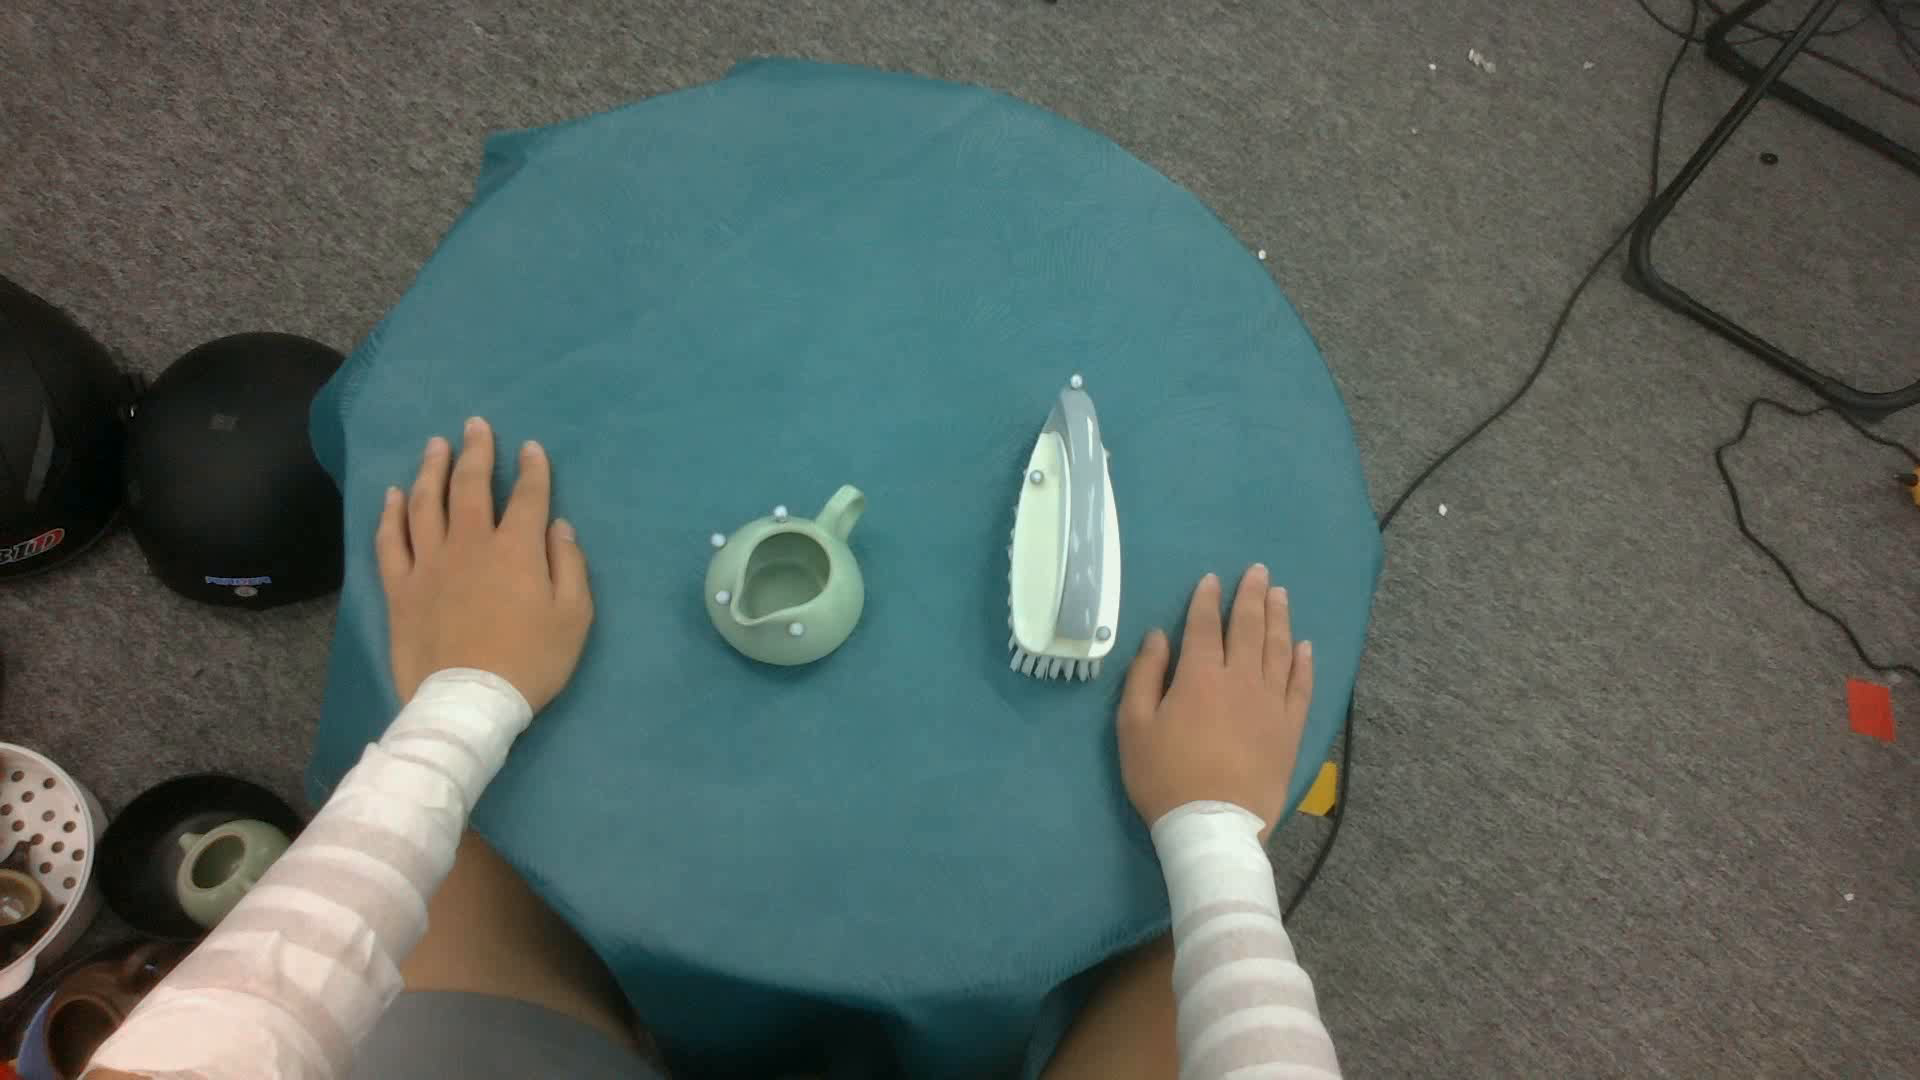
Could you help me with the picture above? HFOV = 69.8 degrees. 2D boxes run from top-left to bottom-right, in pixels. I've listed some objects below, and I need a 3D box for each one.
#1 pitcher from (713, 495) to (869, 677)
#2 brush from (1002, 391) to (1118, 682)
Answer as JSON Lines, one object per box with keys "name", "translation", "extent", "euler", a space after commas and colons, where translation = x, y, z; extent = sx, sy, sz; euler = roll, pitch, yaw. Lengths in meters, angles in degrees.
{"name": "pitcher", "translation": [-0.085, 0.022, 0.757], "extent": [0.086, 0.060, 0.108], "euler": [32, 63, 5]}
{"name": "brush", "translation": [0.062, -0.016, 0.779], "extent": [0.061, 0.094, 0.176], "euler": [7, 63, -11]}
